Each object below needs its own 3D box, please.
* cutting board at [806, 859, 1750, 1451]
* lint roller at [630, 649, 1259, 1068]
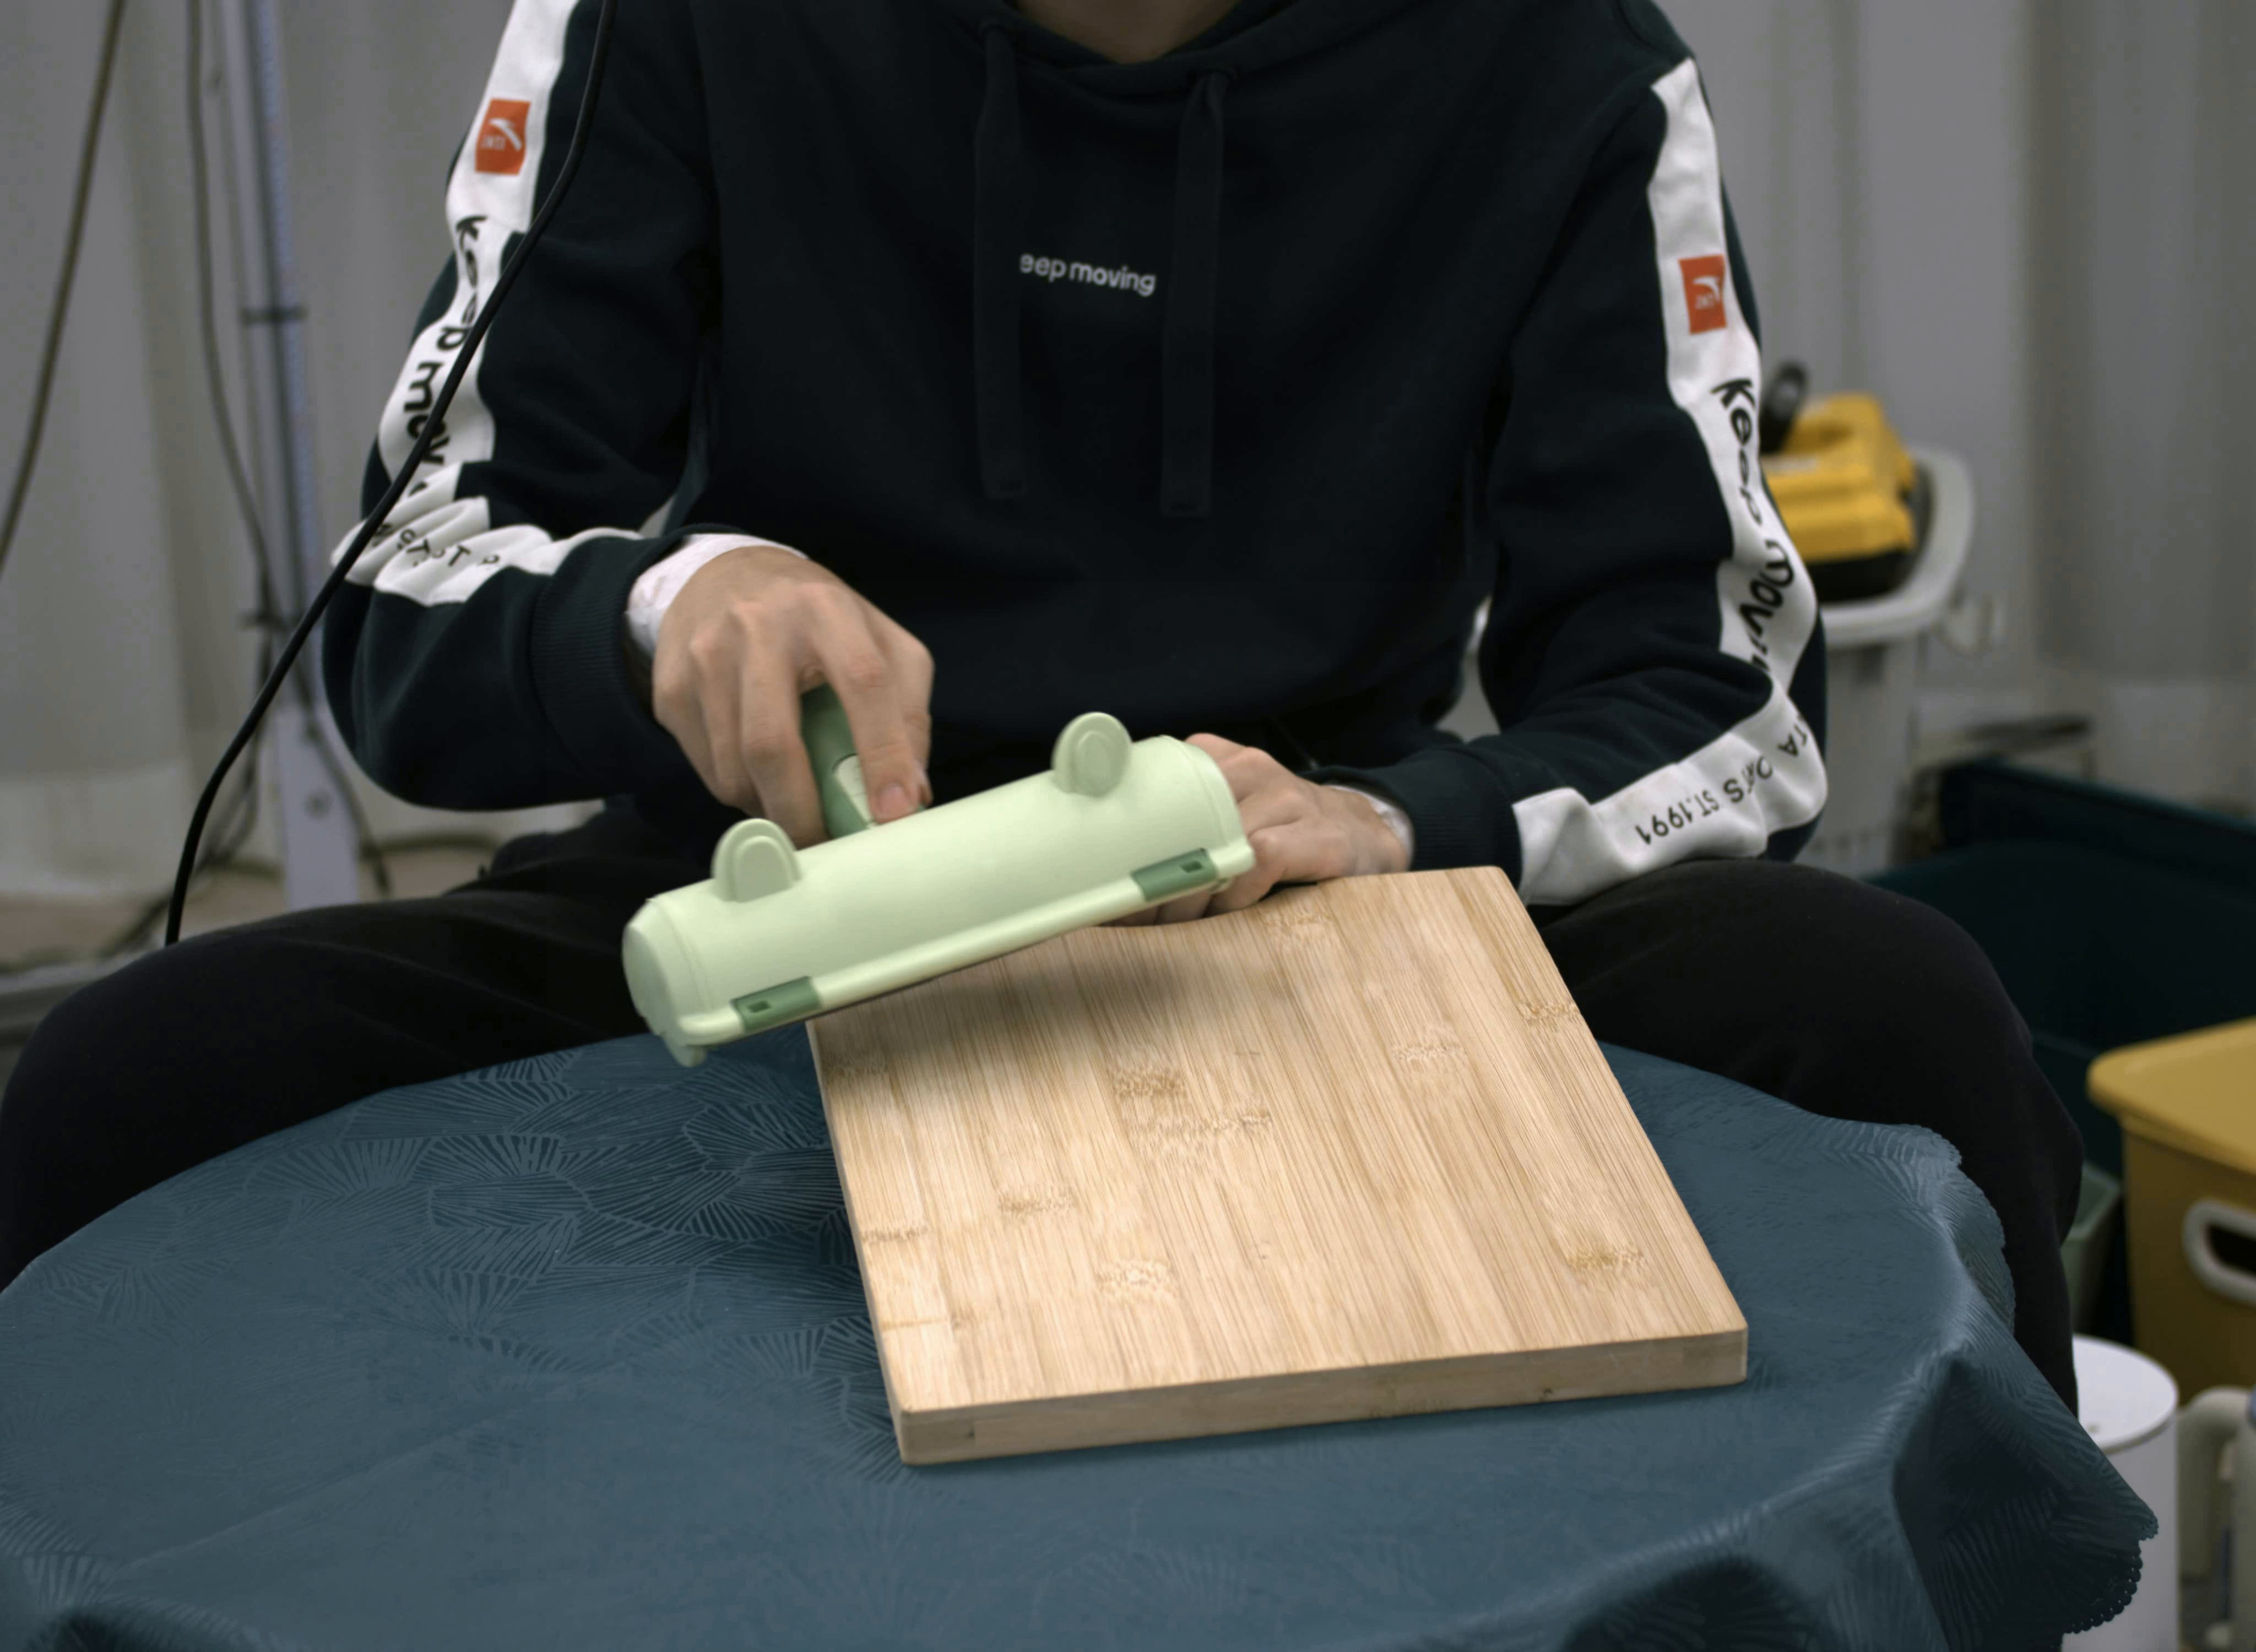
[{"bbox_3d":[0.031,0.094,1.670,0.249,0.023,0.352,-5,23,-8],"label":"cutting board"},{"bbox_3d":[-0.082,-0.017,1.752,0.198,0.081,0.186,-18,48,-18],"label":"lint roller"}]
